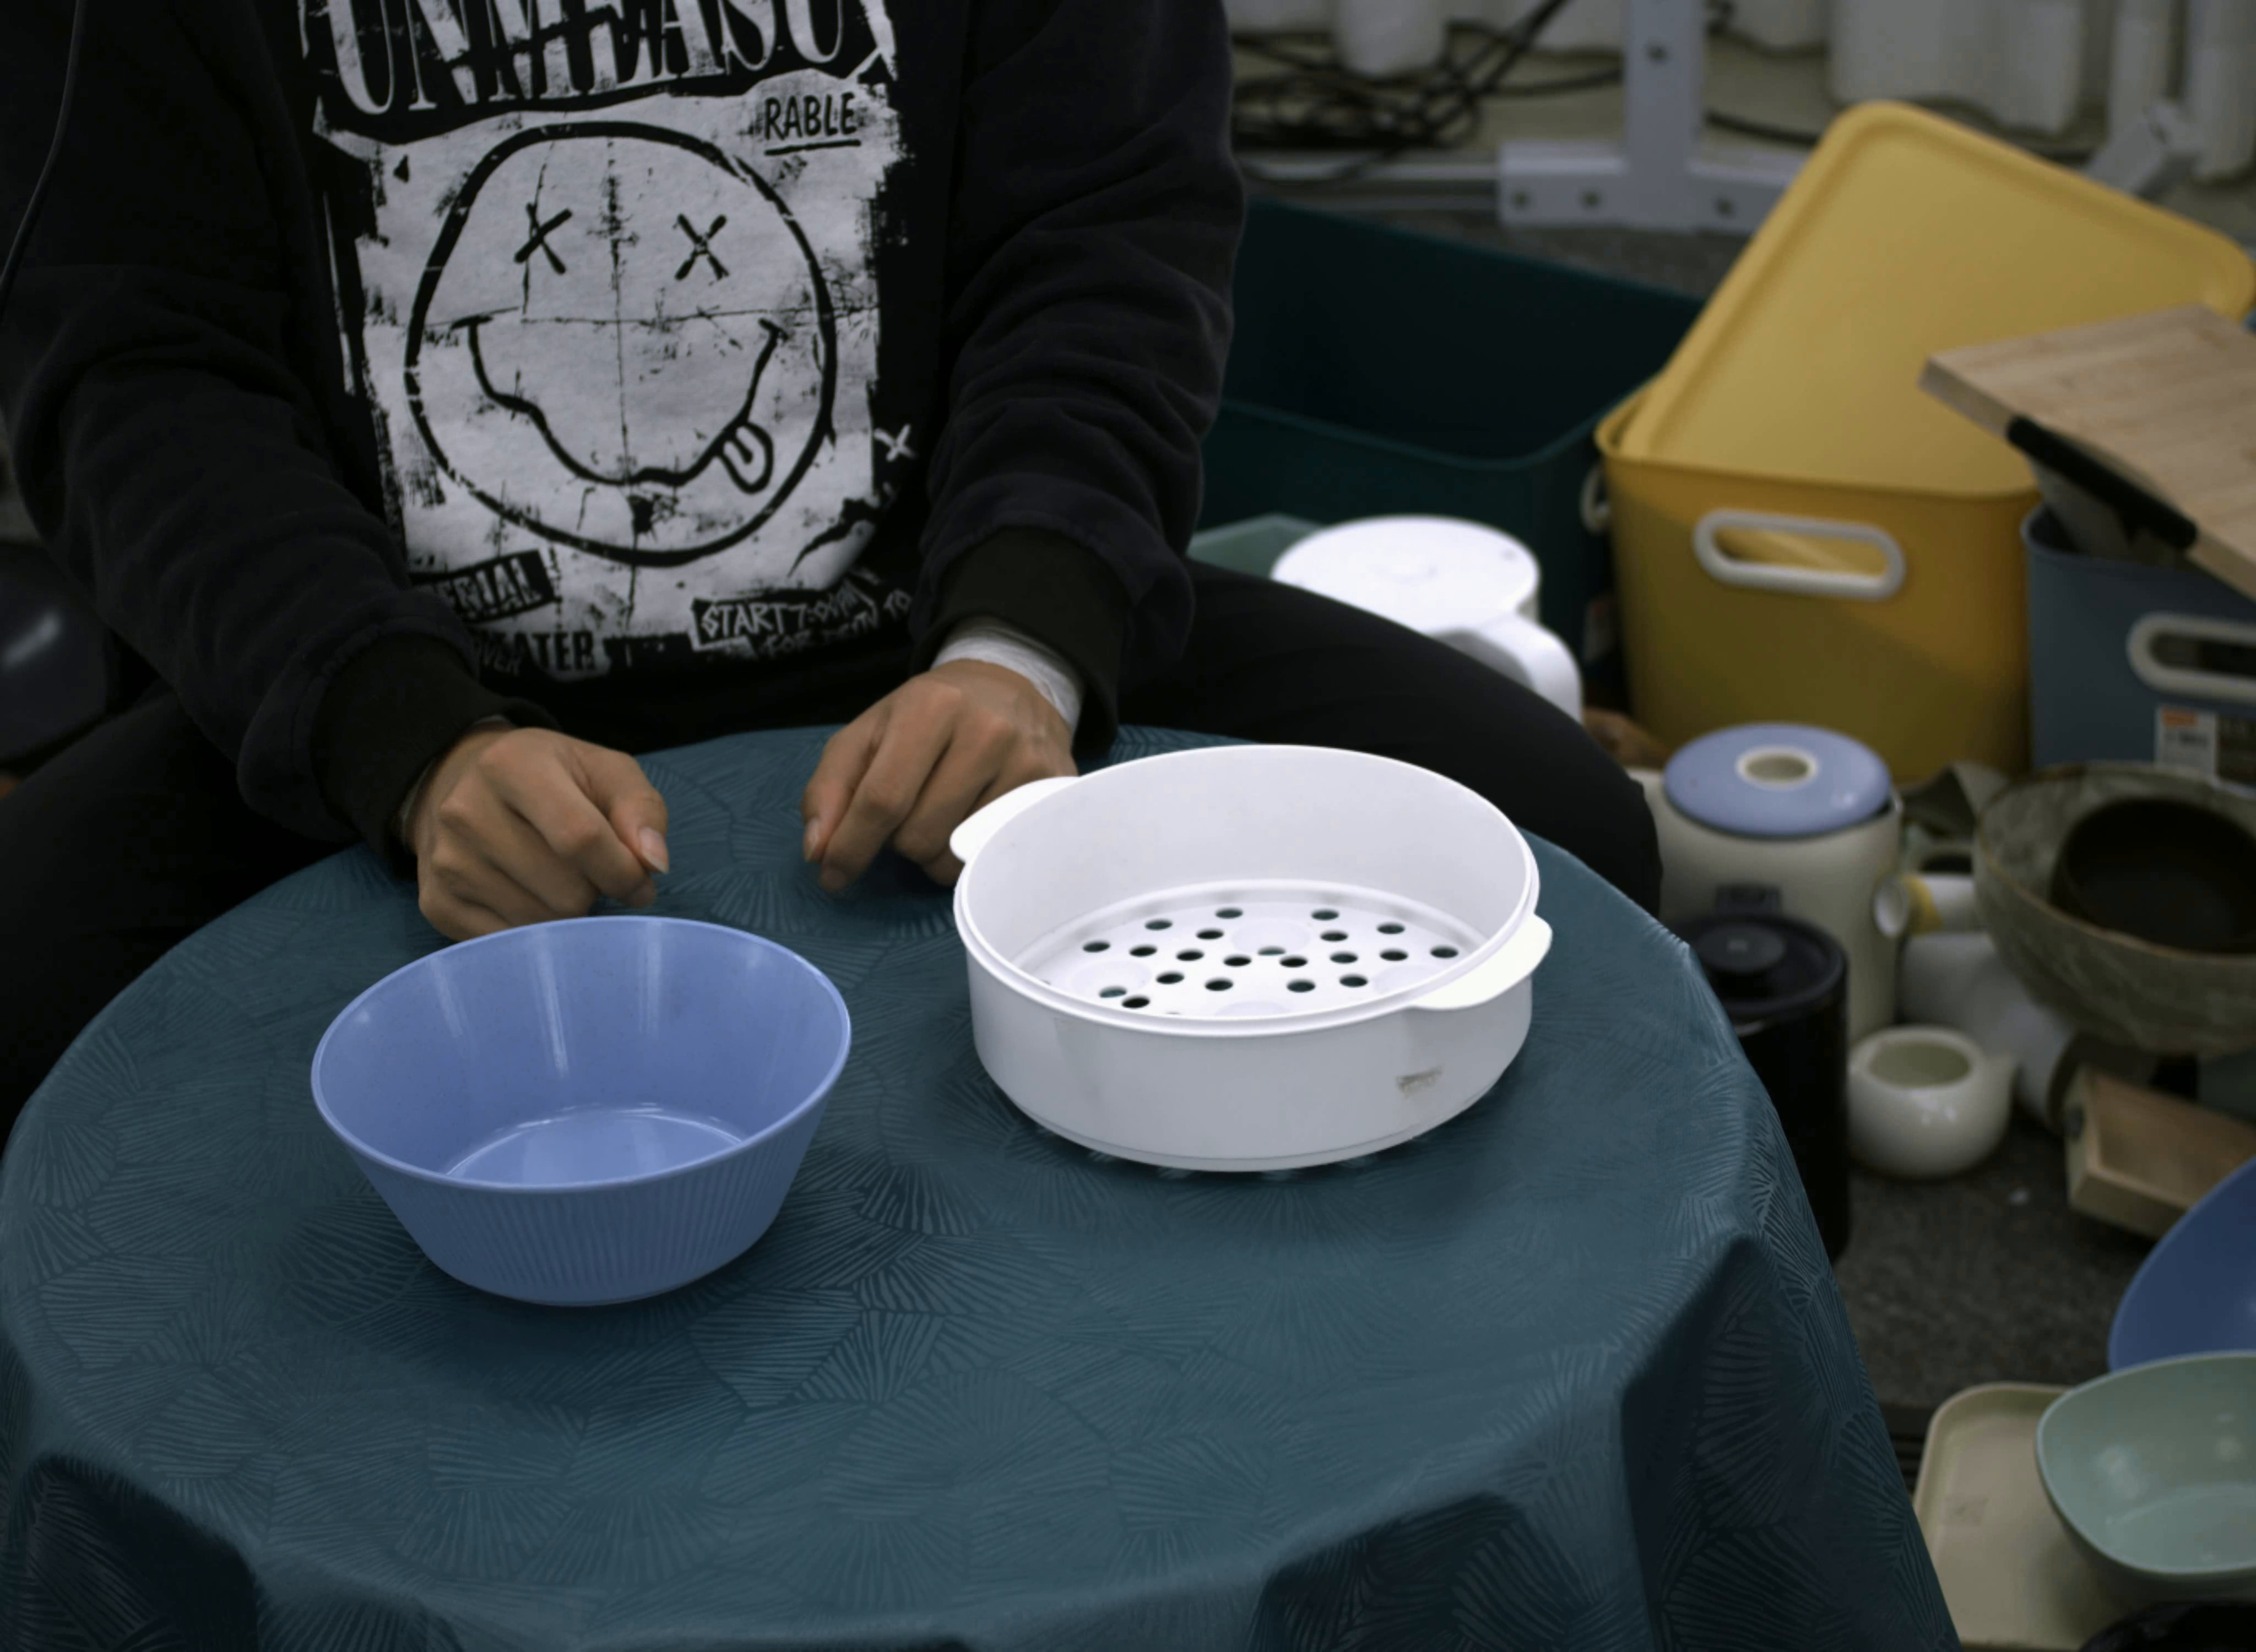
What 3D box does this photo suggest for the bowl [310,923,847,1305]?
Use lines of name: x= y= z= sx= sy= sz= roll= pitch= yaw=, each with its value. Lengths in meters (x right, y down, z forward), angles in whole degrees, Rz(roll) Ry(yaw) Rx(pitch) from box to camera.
bowl: x=-0.178 y=0.101 z=1.843 sx=0.175 sy=0.069 sz=0.179 roll=-1 pitch=27 yaw=1

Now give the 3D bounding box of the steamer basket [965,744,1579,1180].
steamer basket: x=0.047 y=0.047 z=1.926 sx=0.230 sy=0.068 sz=0.205 roll=19 pitch=34 yaw=32
